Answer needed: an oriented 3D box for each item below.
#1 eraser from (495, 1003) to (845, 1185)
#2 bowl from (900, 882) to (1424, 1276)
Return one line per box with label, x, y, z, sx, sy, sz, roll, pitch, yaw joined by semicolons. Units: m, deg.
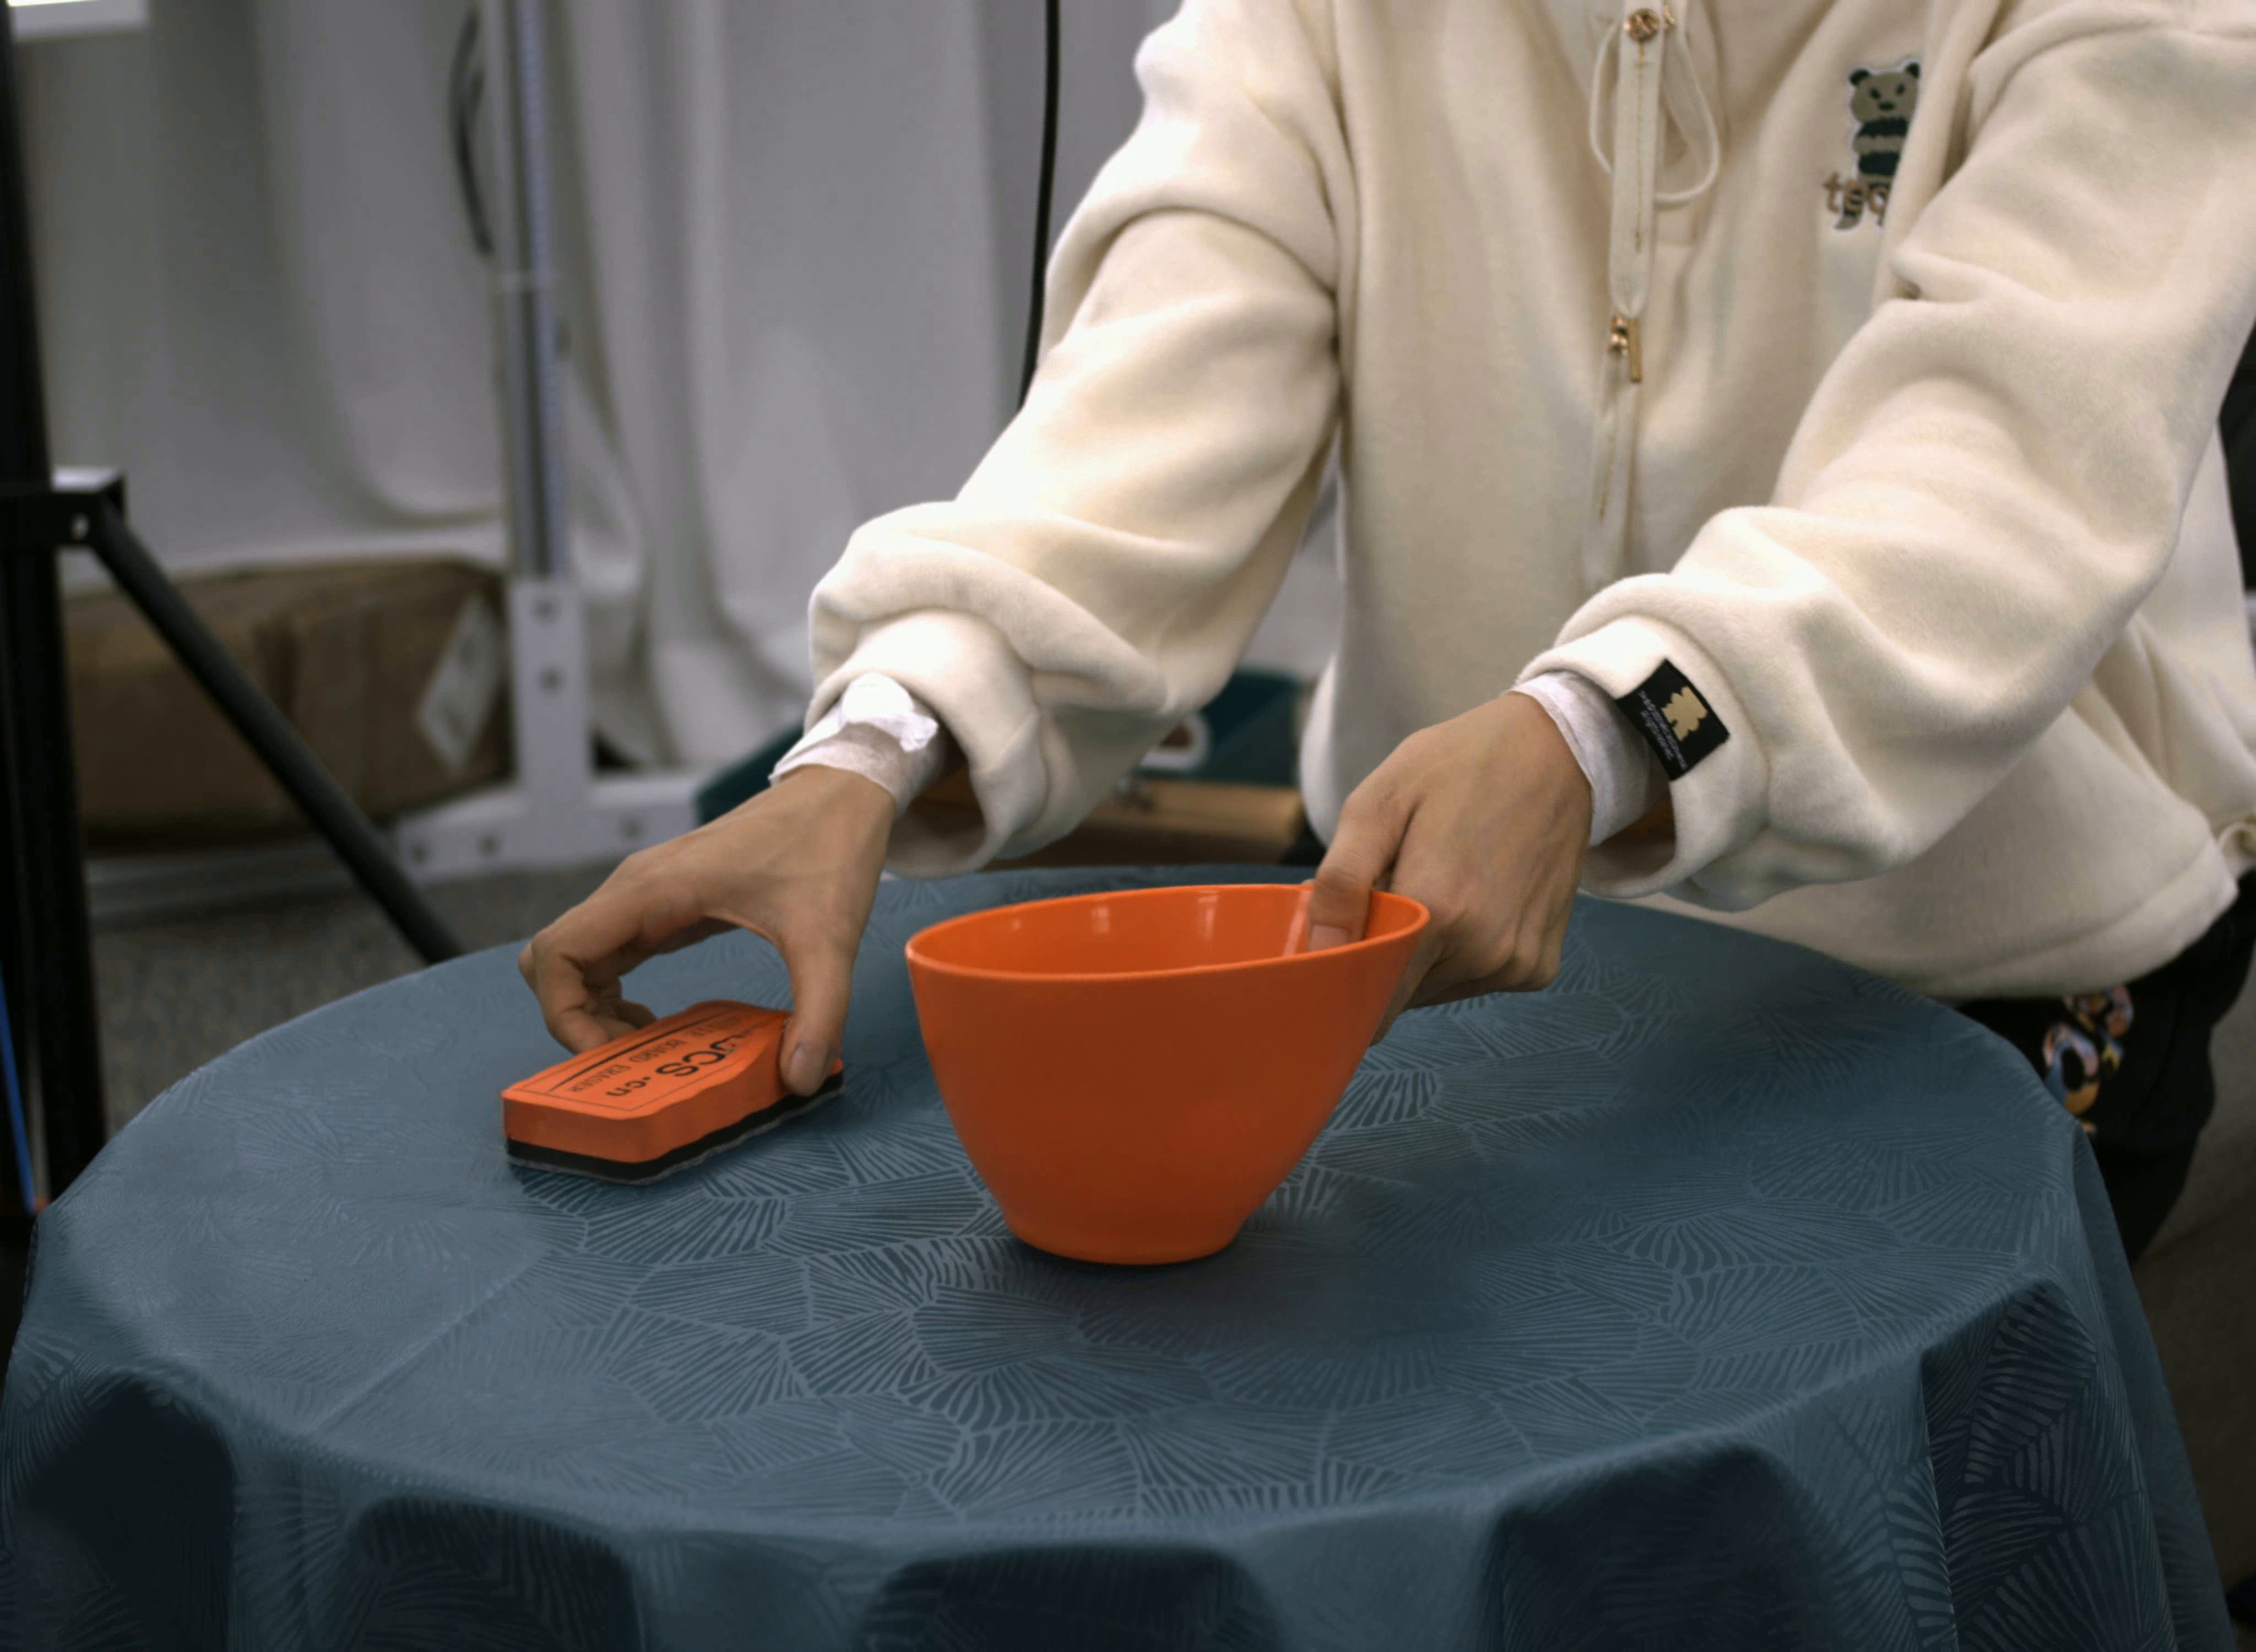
eraser;-0.140;0.081;1.632;0.060;0.023;0.106;7;18;37
bowl;0.008;0.070;1.499;0.147;0.105;0.149;0;15;-1
